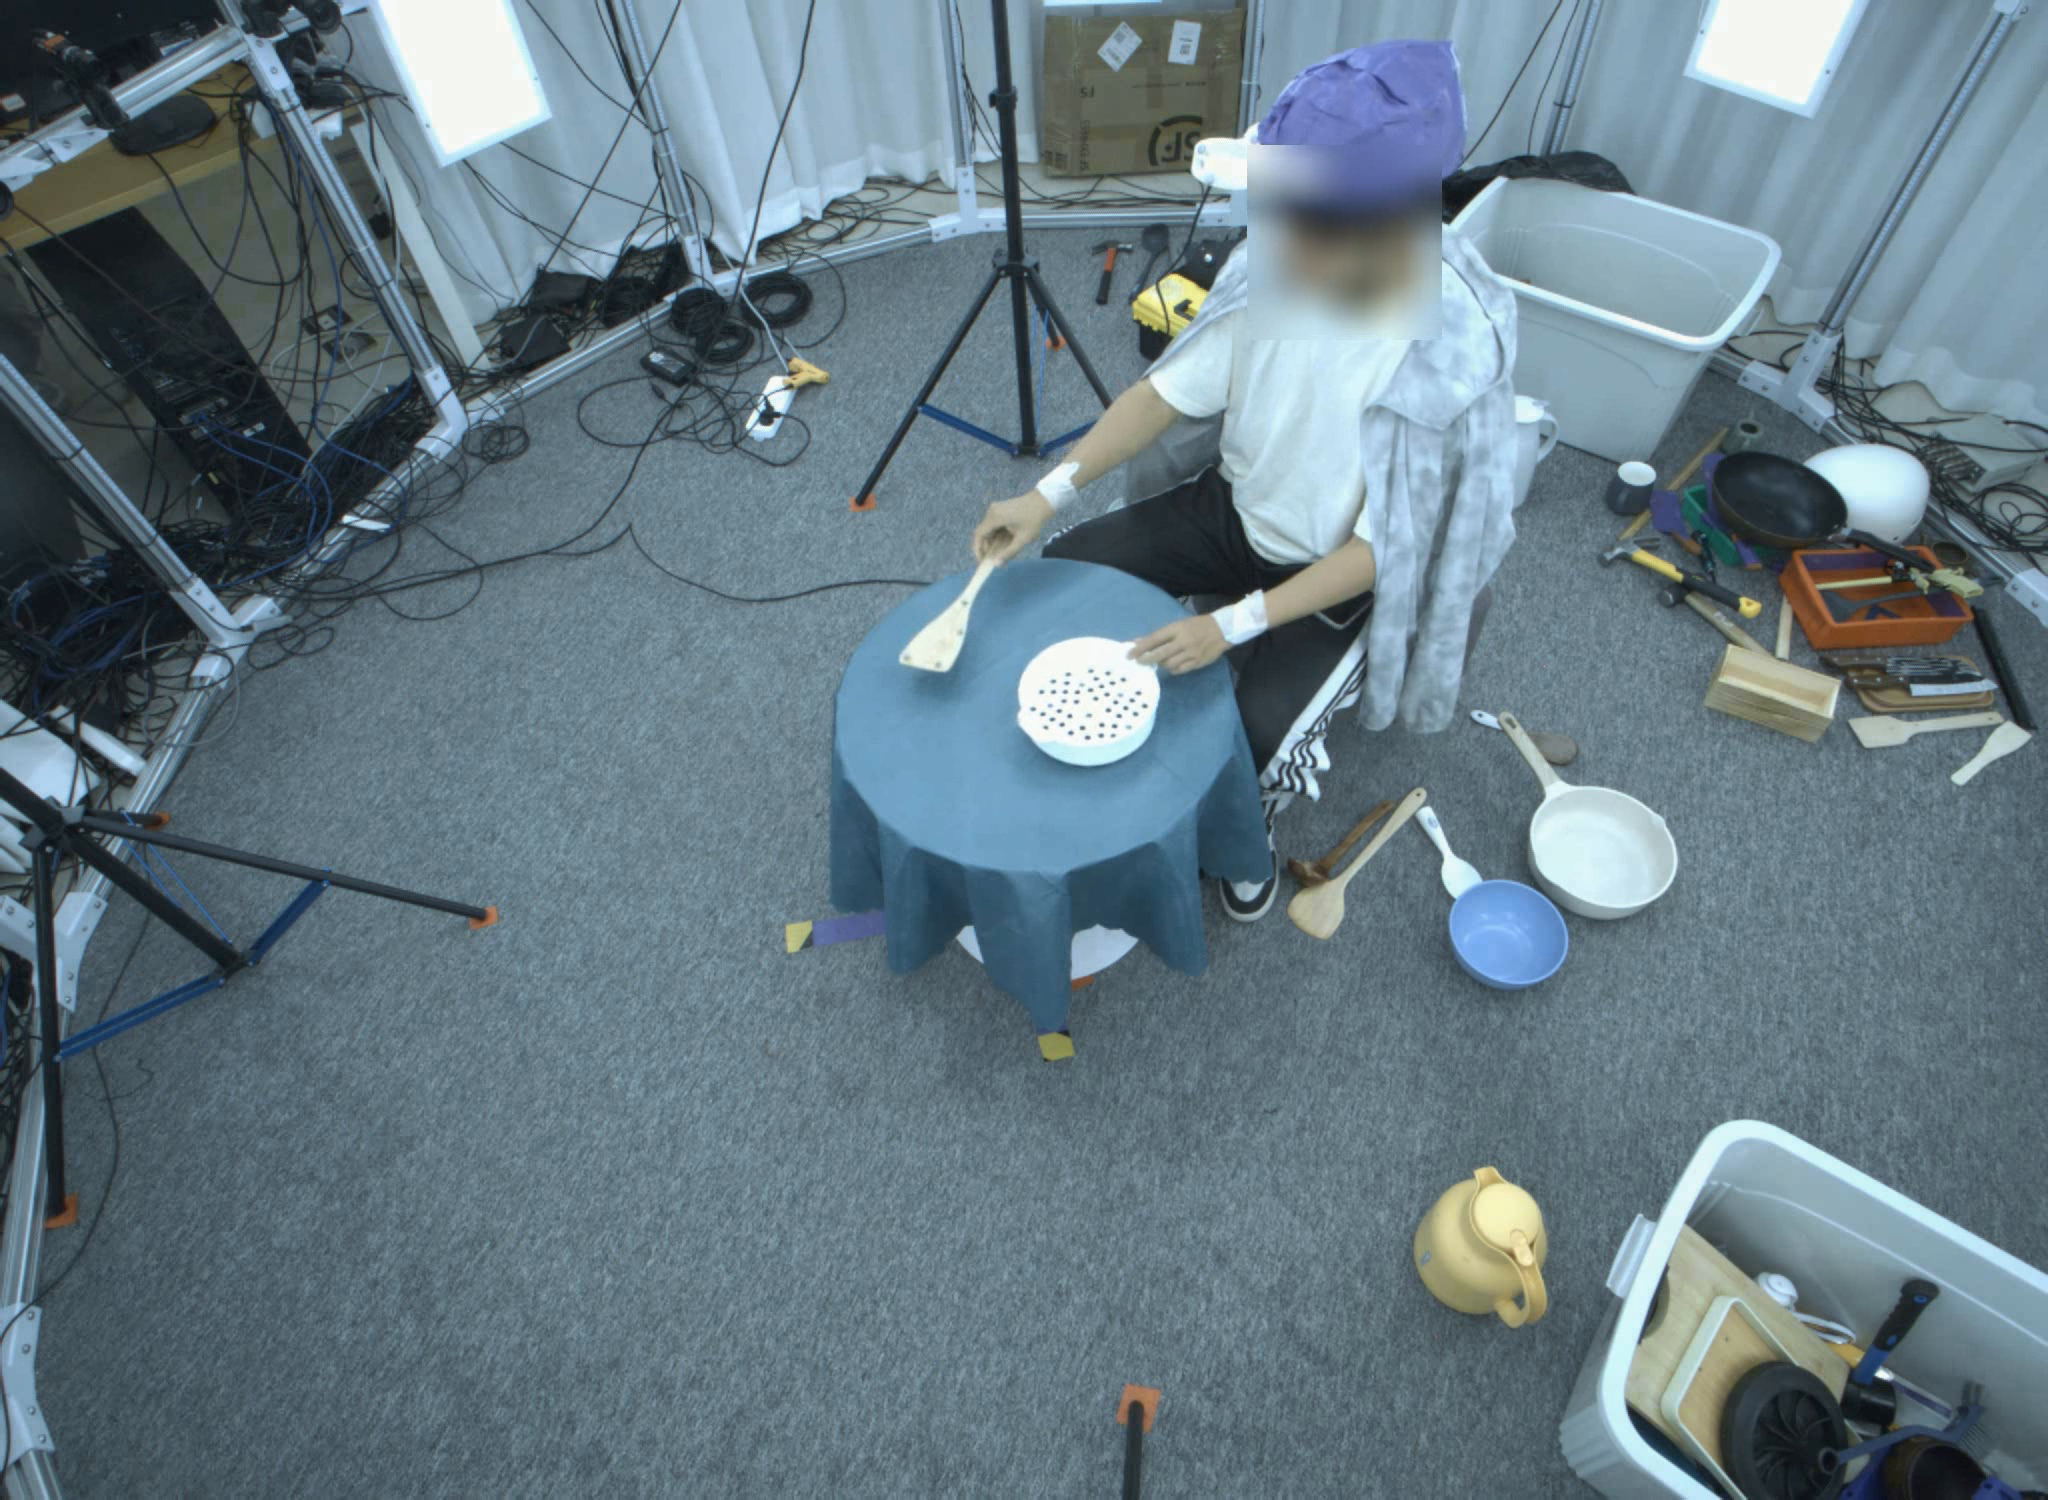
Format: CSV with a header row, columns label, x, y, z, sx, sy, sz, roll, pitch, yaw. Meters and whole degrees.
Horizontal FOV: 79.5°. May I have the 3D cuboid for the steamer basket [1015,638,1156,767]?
label,x,y,z,sx,sy,sz,roll,pitch,yaw
steamer basket,0.090,-0.068,1.794,0.232,0.070,0.198,-33,61,-21

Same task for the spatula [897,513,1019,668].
label,x,y,z,sx,sy,sz,roll,pitch,yaw
spatula,-0.087,-0.249,1.883,0.079,0.017,0.328,22,64,14
